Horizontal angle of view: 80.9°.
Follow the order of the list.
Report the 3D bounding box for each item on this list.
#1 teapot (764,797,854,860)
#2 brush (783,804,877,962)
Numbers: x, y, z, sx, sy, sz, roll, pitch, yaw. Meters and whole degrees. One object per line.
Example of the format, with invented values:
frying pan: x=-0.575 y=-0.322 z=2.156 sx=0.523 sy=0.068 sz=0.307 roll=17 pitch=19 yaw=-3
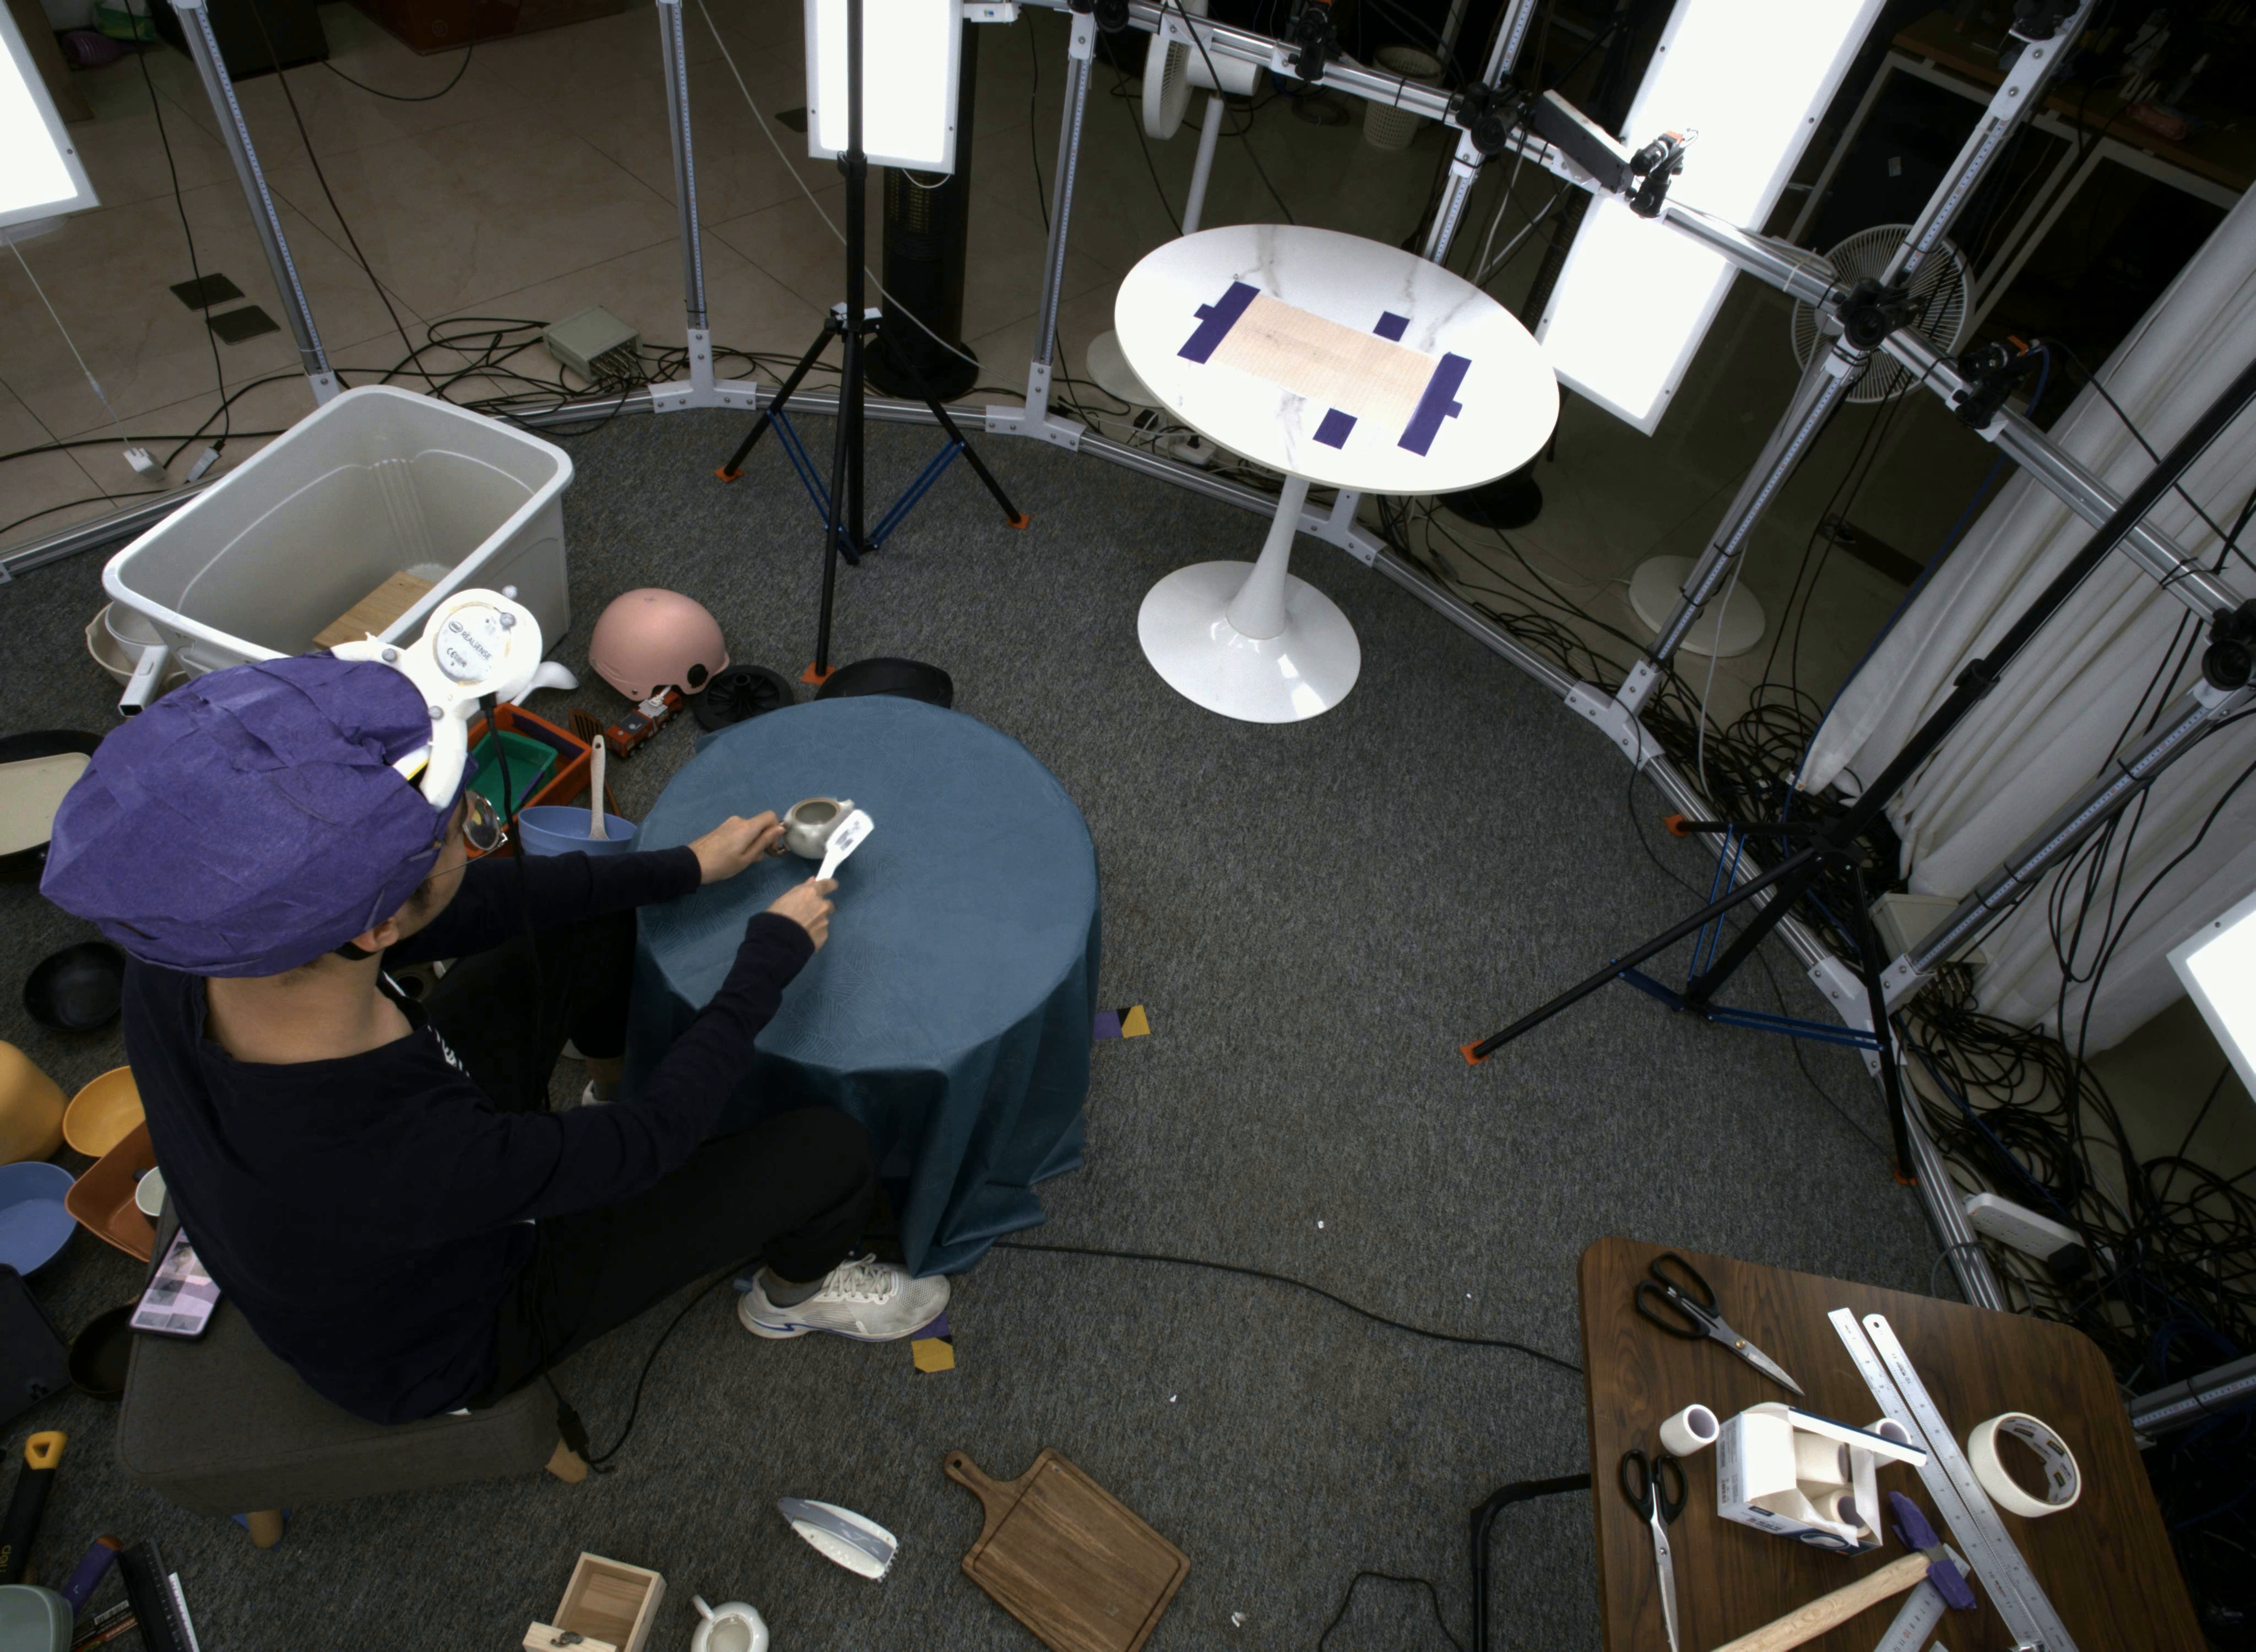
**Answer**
teapot: x=-0.411 y=0.005 z=1.679 sx=0.129 sy=0.061 sz=0.088 roll=-22 pitch=44 yaw=-32
brush: x=-0.378 y=0.066 z=1.592 sx=0.049 sy=0.036 sz=0.241 roll=-2 pitch=47 yaw=28
